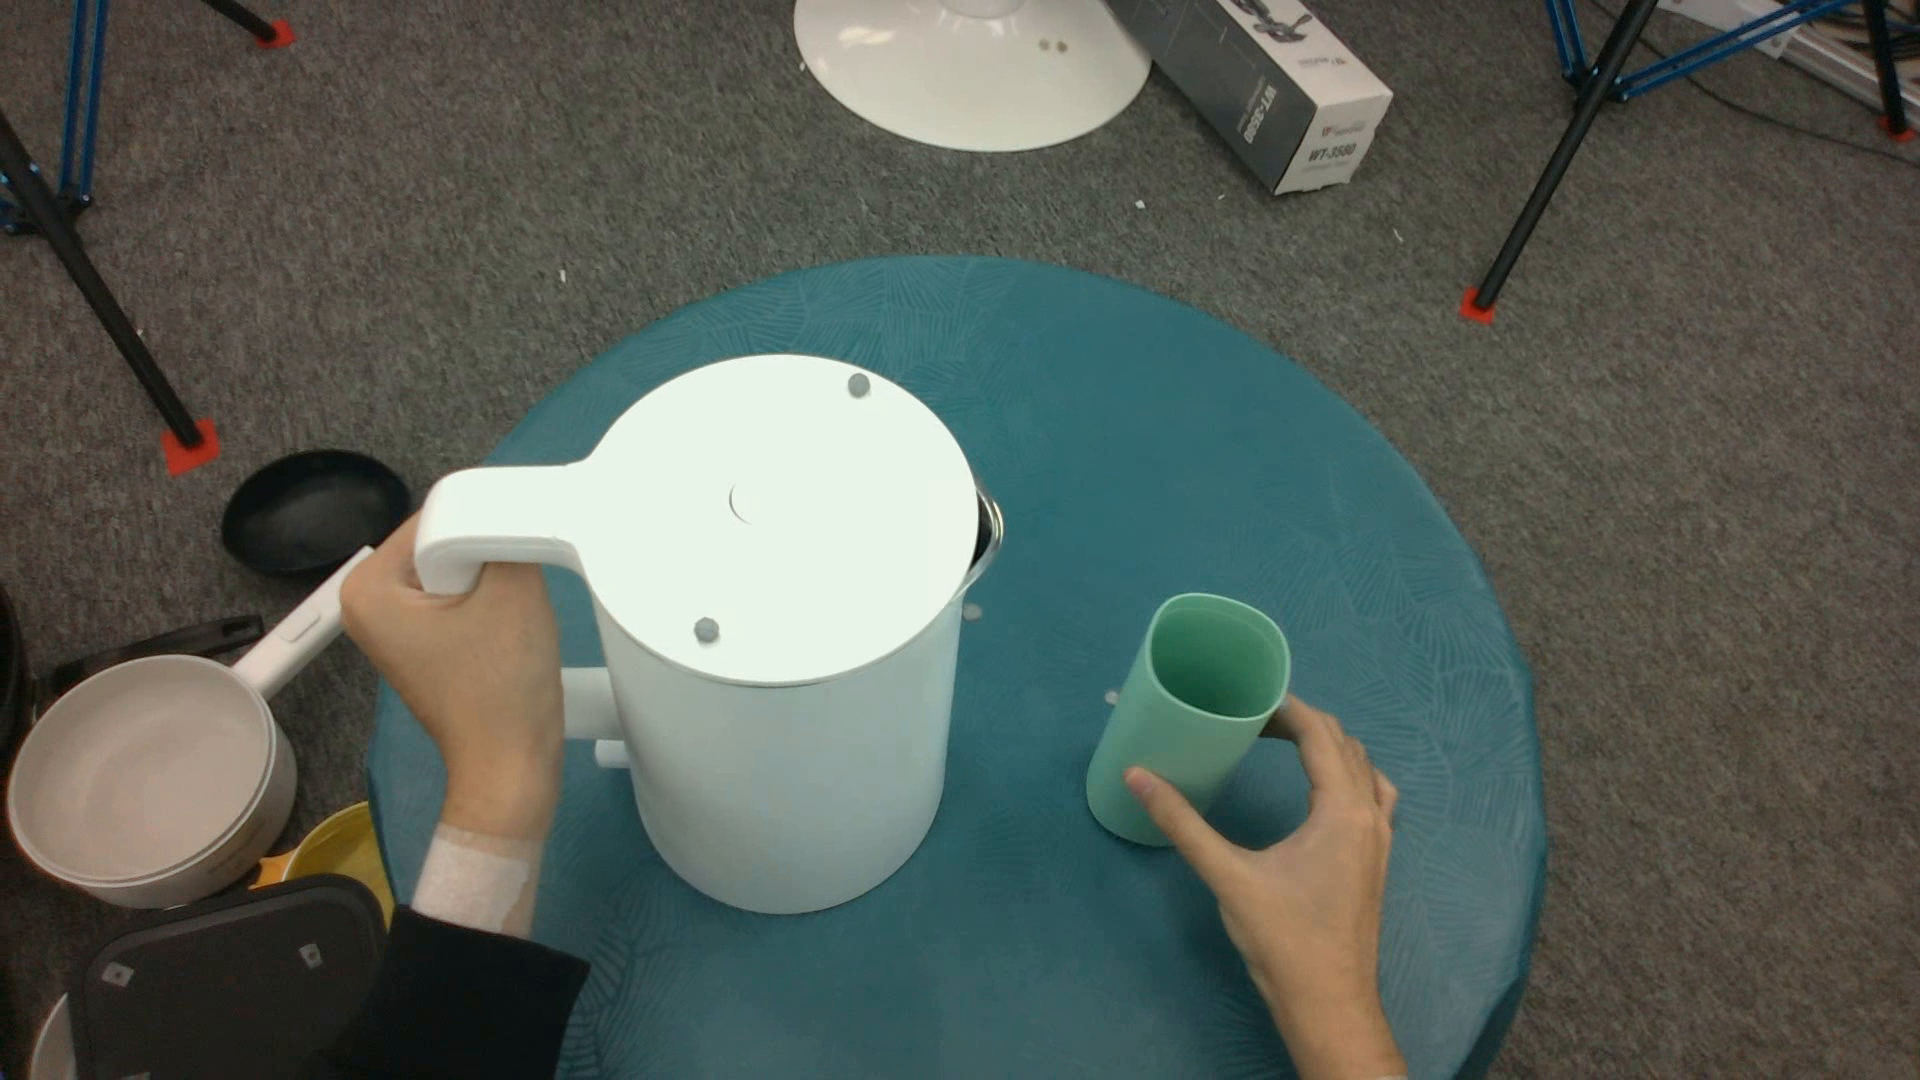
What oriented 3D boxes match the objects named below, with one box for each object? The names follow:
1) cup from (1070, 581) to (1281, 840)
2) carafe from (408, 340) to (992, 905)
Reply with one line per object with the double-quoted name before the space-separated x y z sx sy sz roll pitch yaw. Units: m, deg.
"cup" 0.097 0.084 0.643 0.067 0.131 0.067 7 51 -8
"carafe" -0.105 0.042 0.586 0.213 0.239 0.153 2 56 -6
